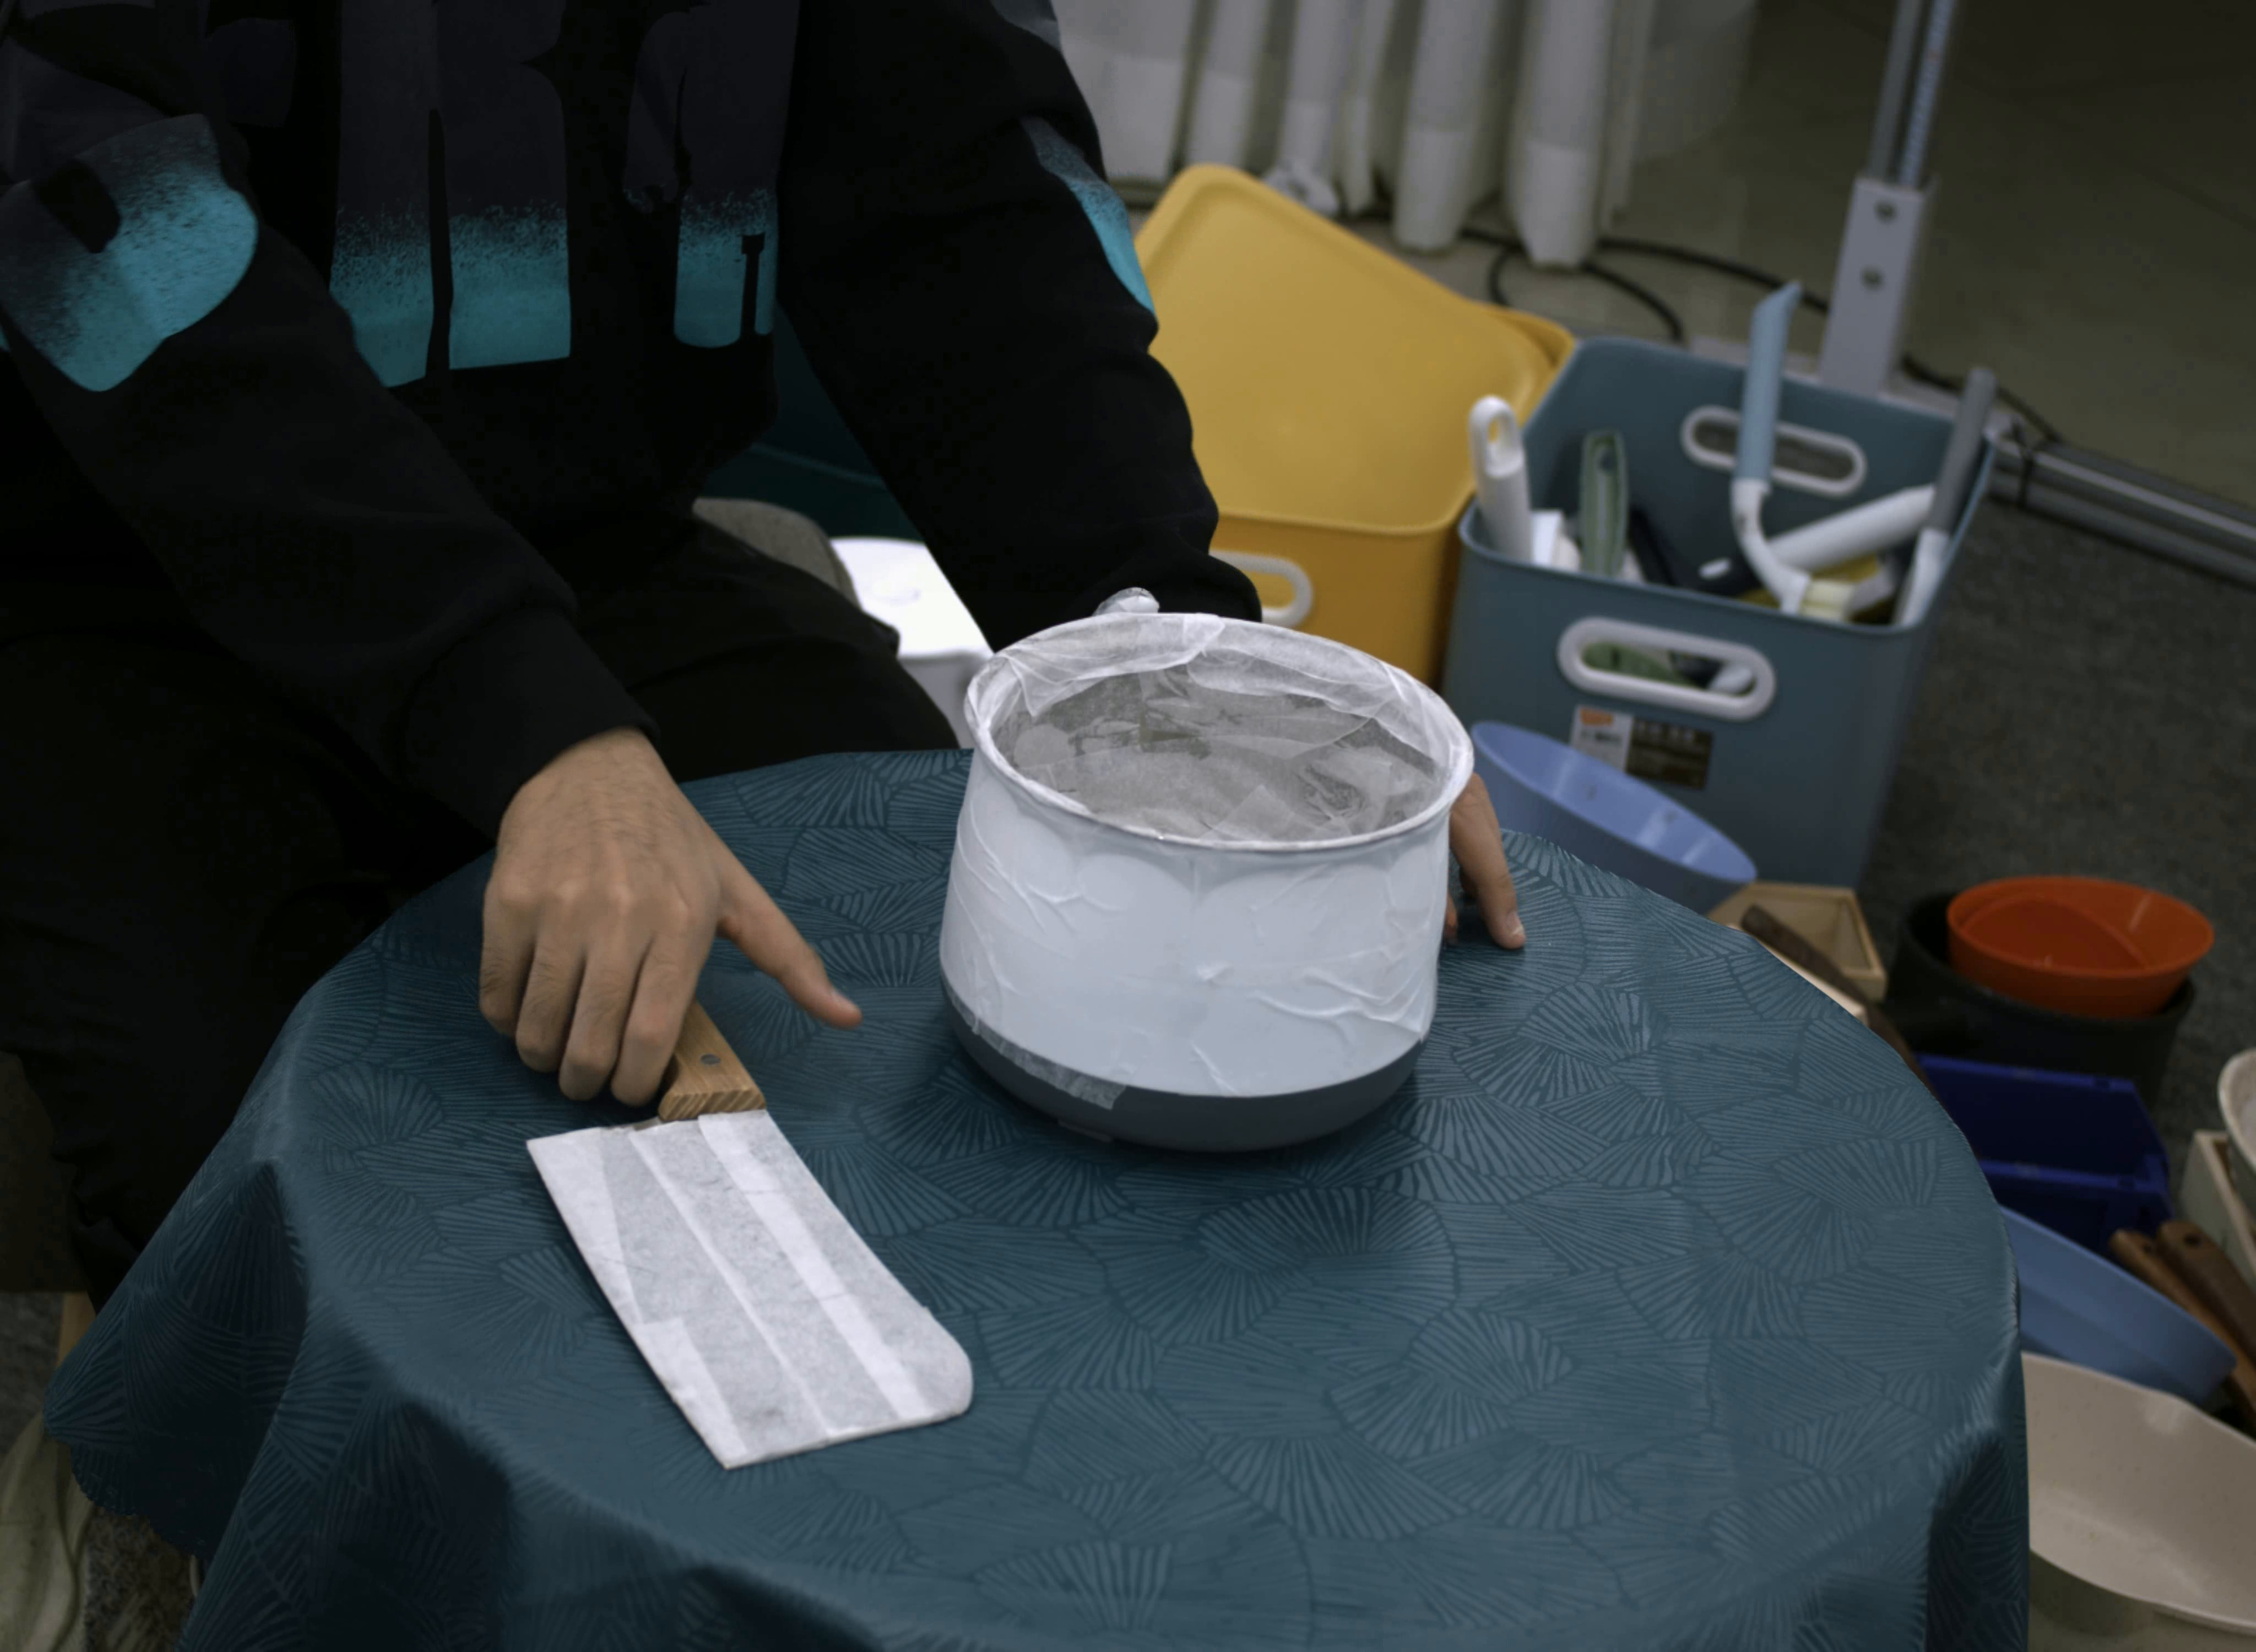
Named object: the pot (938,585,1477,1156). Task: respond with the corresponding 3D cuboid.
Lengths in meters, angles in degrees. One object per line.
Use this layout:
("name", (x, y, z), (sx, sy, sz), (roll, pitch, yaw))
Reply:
("pot", (0.016, 0.008, 1.881), (0.177, 0.136, 0.236), (-3, 29, -19))

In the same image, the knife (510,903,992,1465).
("knife", (-0.141, 0.114, 1.769), (0.113, 0.021, 0.318), (-6, 32, -22))
